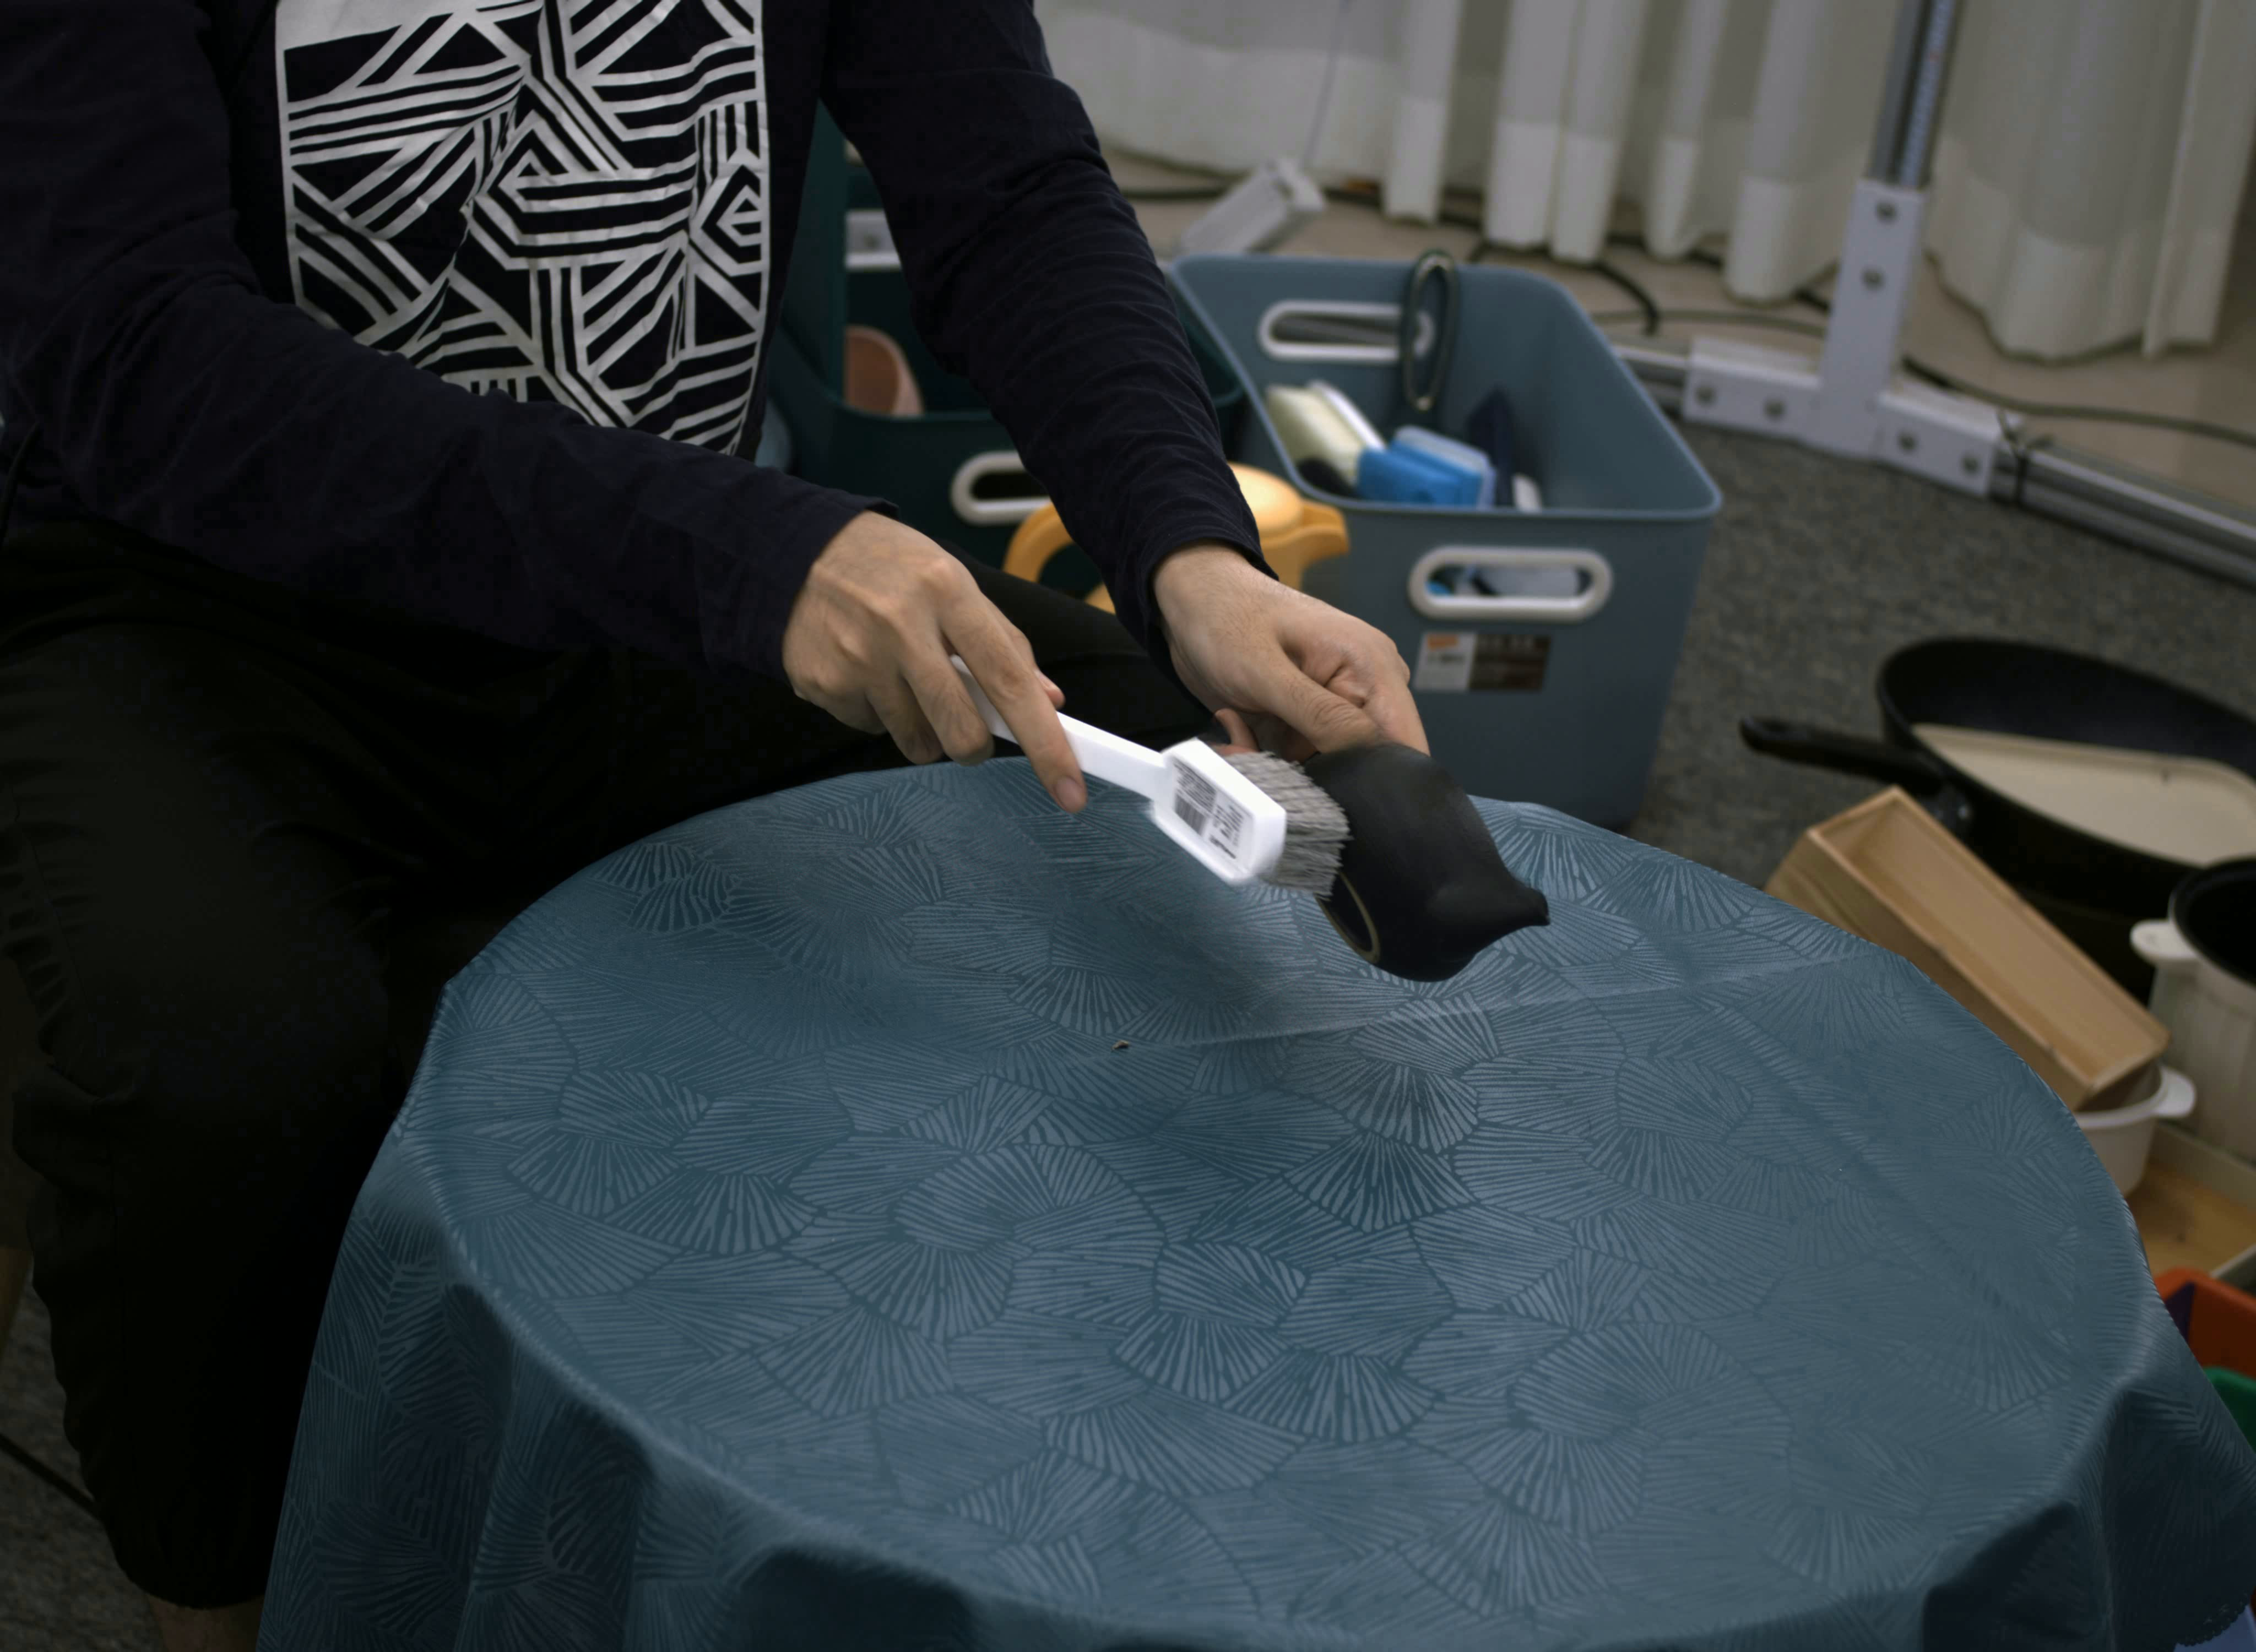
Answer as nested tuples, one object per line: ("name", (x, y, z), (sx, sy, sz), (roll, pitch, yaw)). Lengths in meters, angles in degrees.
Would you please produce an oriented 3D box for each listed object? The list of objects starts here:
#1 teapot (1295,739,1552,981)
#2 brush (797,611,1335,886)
("teapot", (0.095, 0.011, 1.873), (0.053, 0.090, 0.134), (-29, 40, -14))
("brush", (-0.022, -0.033, 1.906), (0.245, 0.034, 0.050), (25, 26, 38))
